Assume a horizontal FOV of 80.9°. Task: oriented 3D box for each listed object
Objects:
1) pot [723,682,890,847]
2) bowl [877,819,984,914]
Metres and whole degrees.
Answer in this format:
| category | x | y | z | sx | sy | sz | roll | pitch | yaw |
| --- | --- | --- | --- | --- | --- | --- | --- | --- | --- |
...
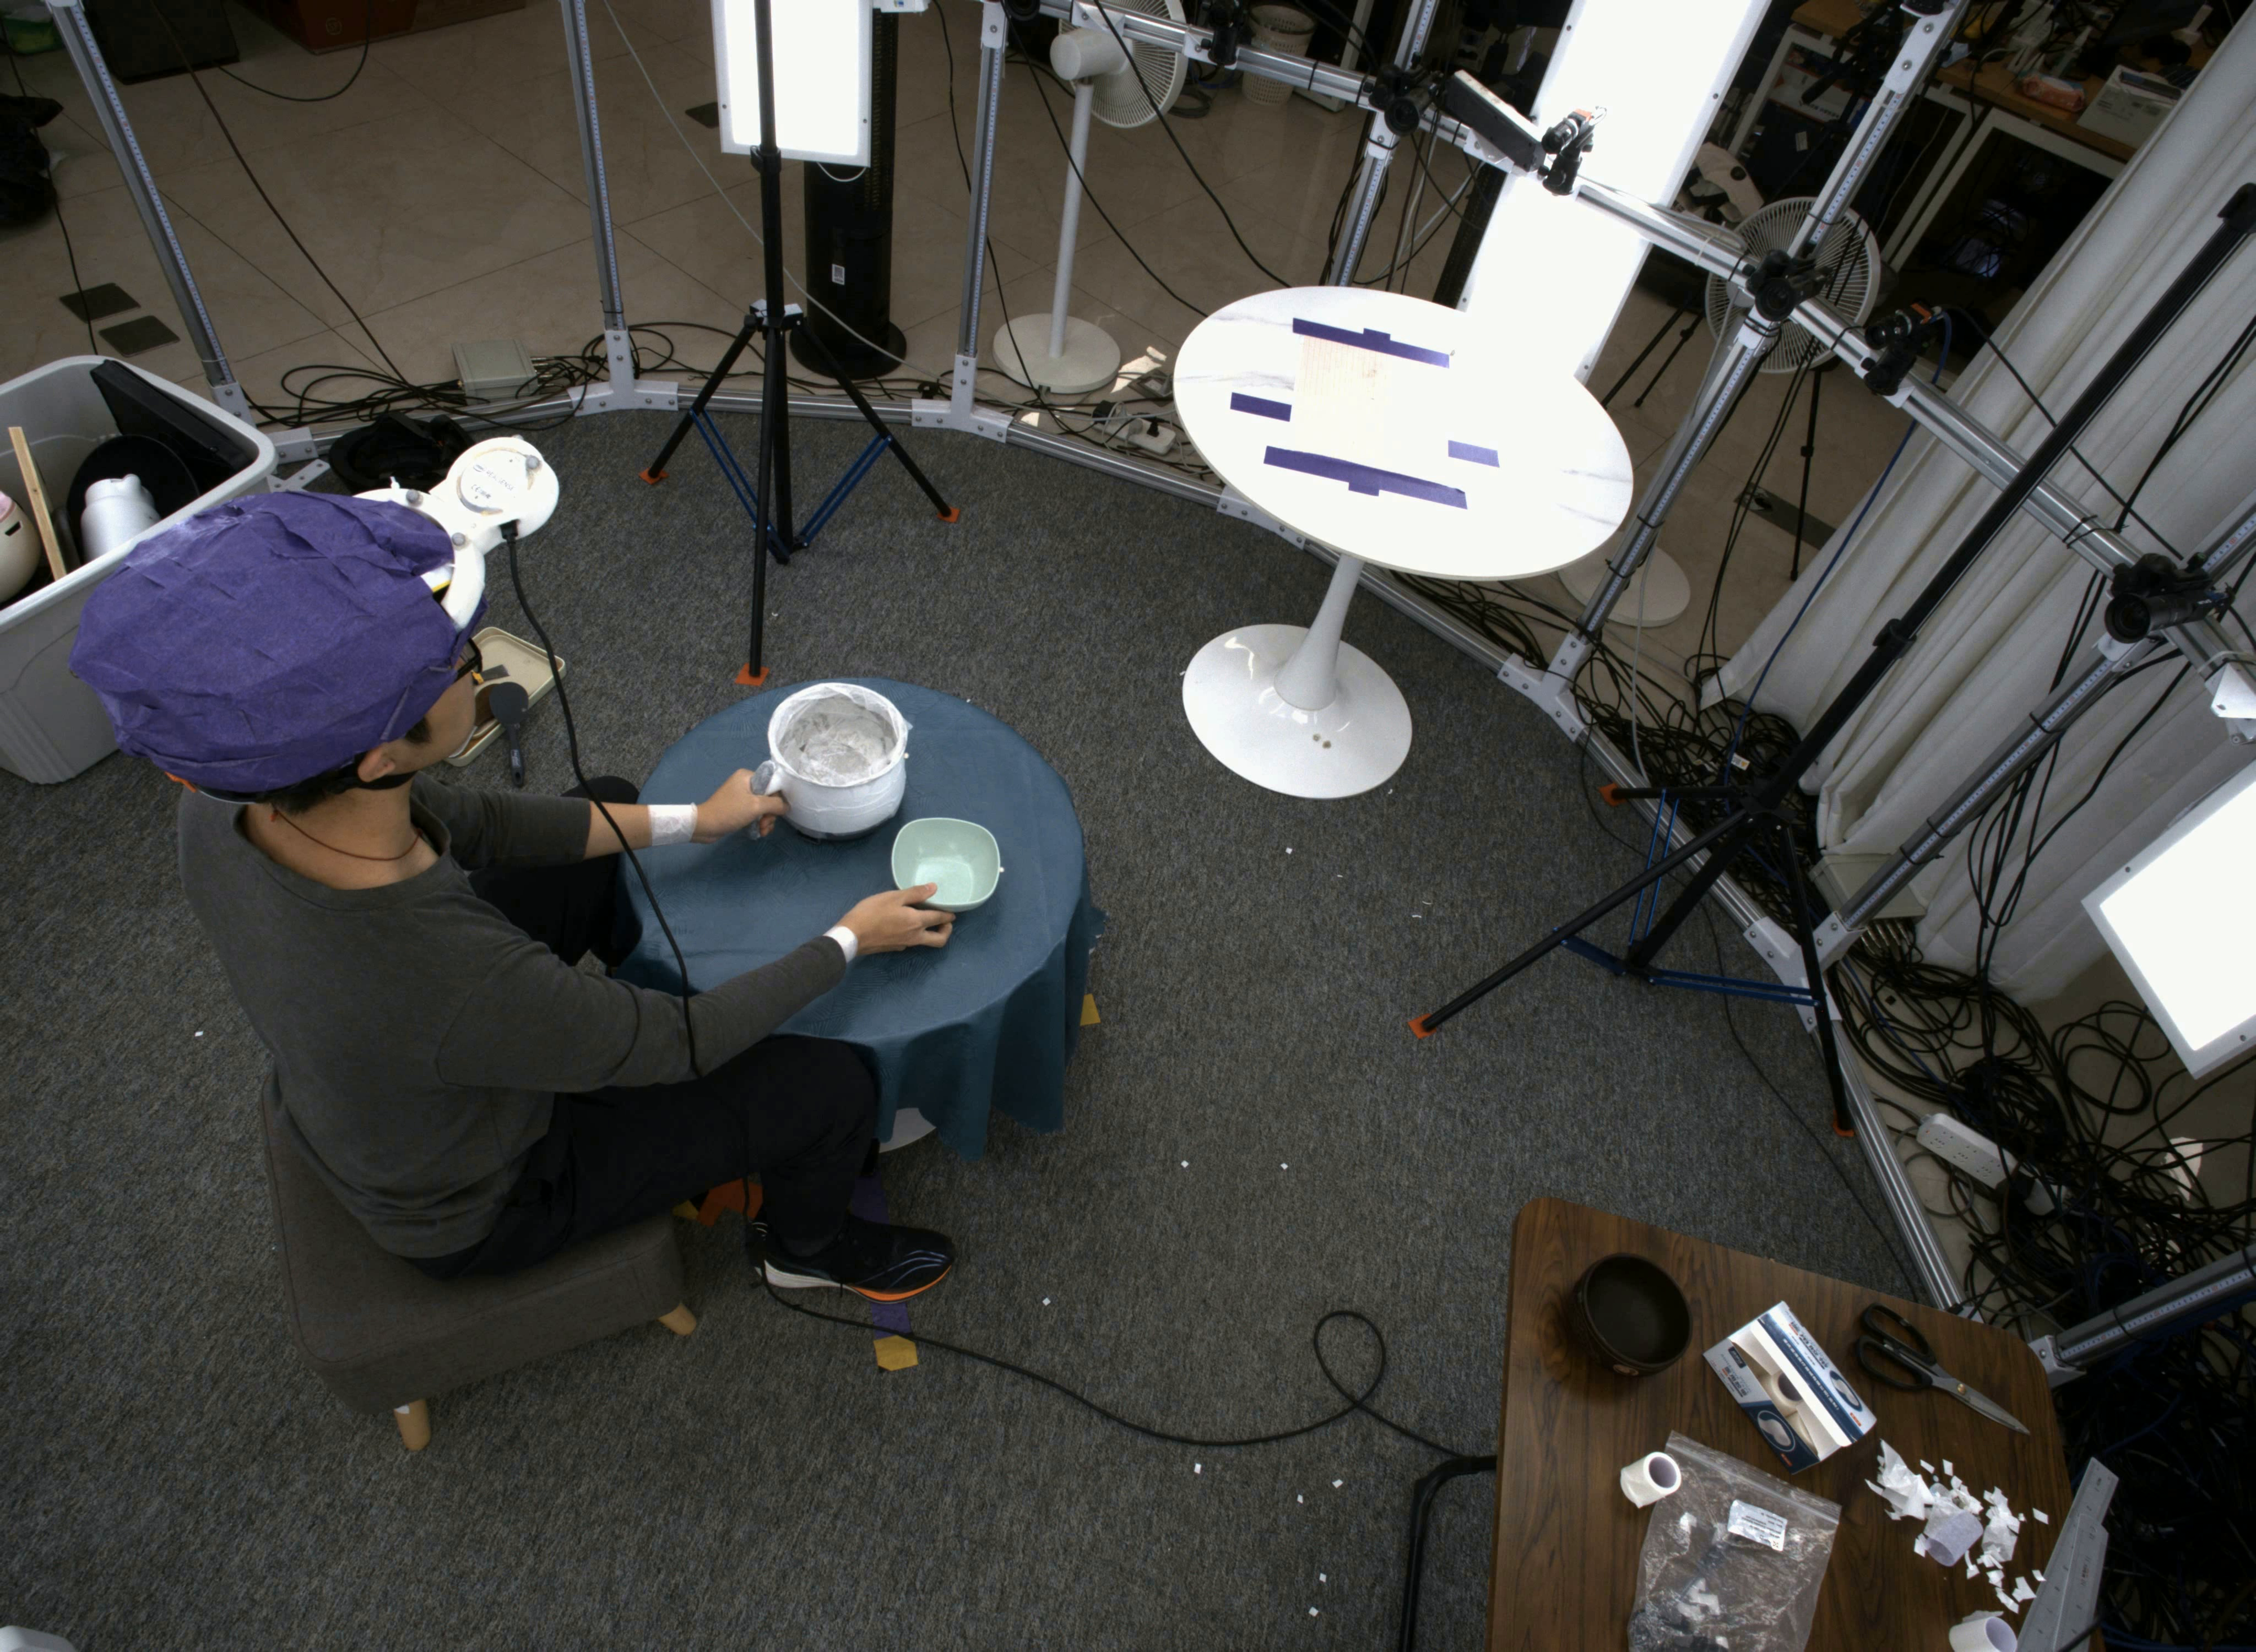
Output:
| category | x | y | z | sx | sy | sz | roll | pitch | yaw |
| --- | --- | --- | --- | --- | --- | --- | --- | --- | --- |
| pot | -0.424 | -0.067 | 1.696 | 0.234 | 0.139 | 0.174 | -32 | 66 | -31 |
| bowl | -0.258 | 0.062 | 1.694 | 0.151 | 0.060 | 0.148 | 9 | 49 | -9 |
